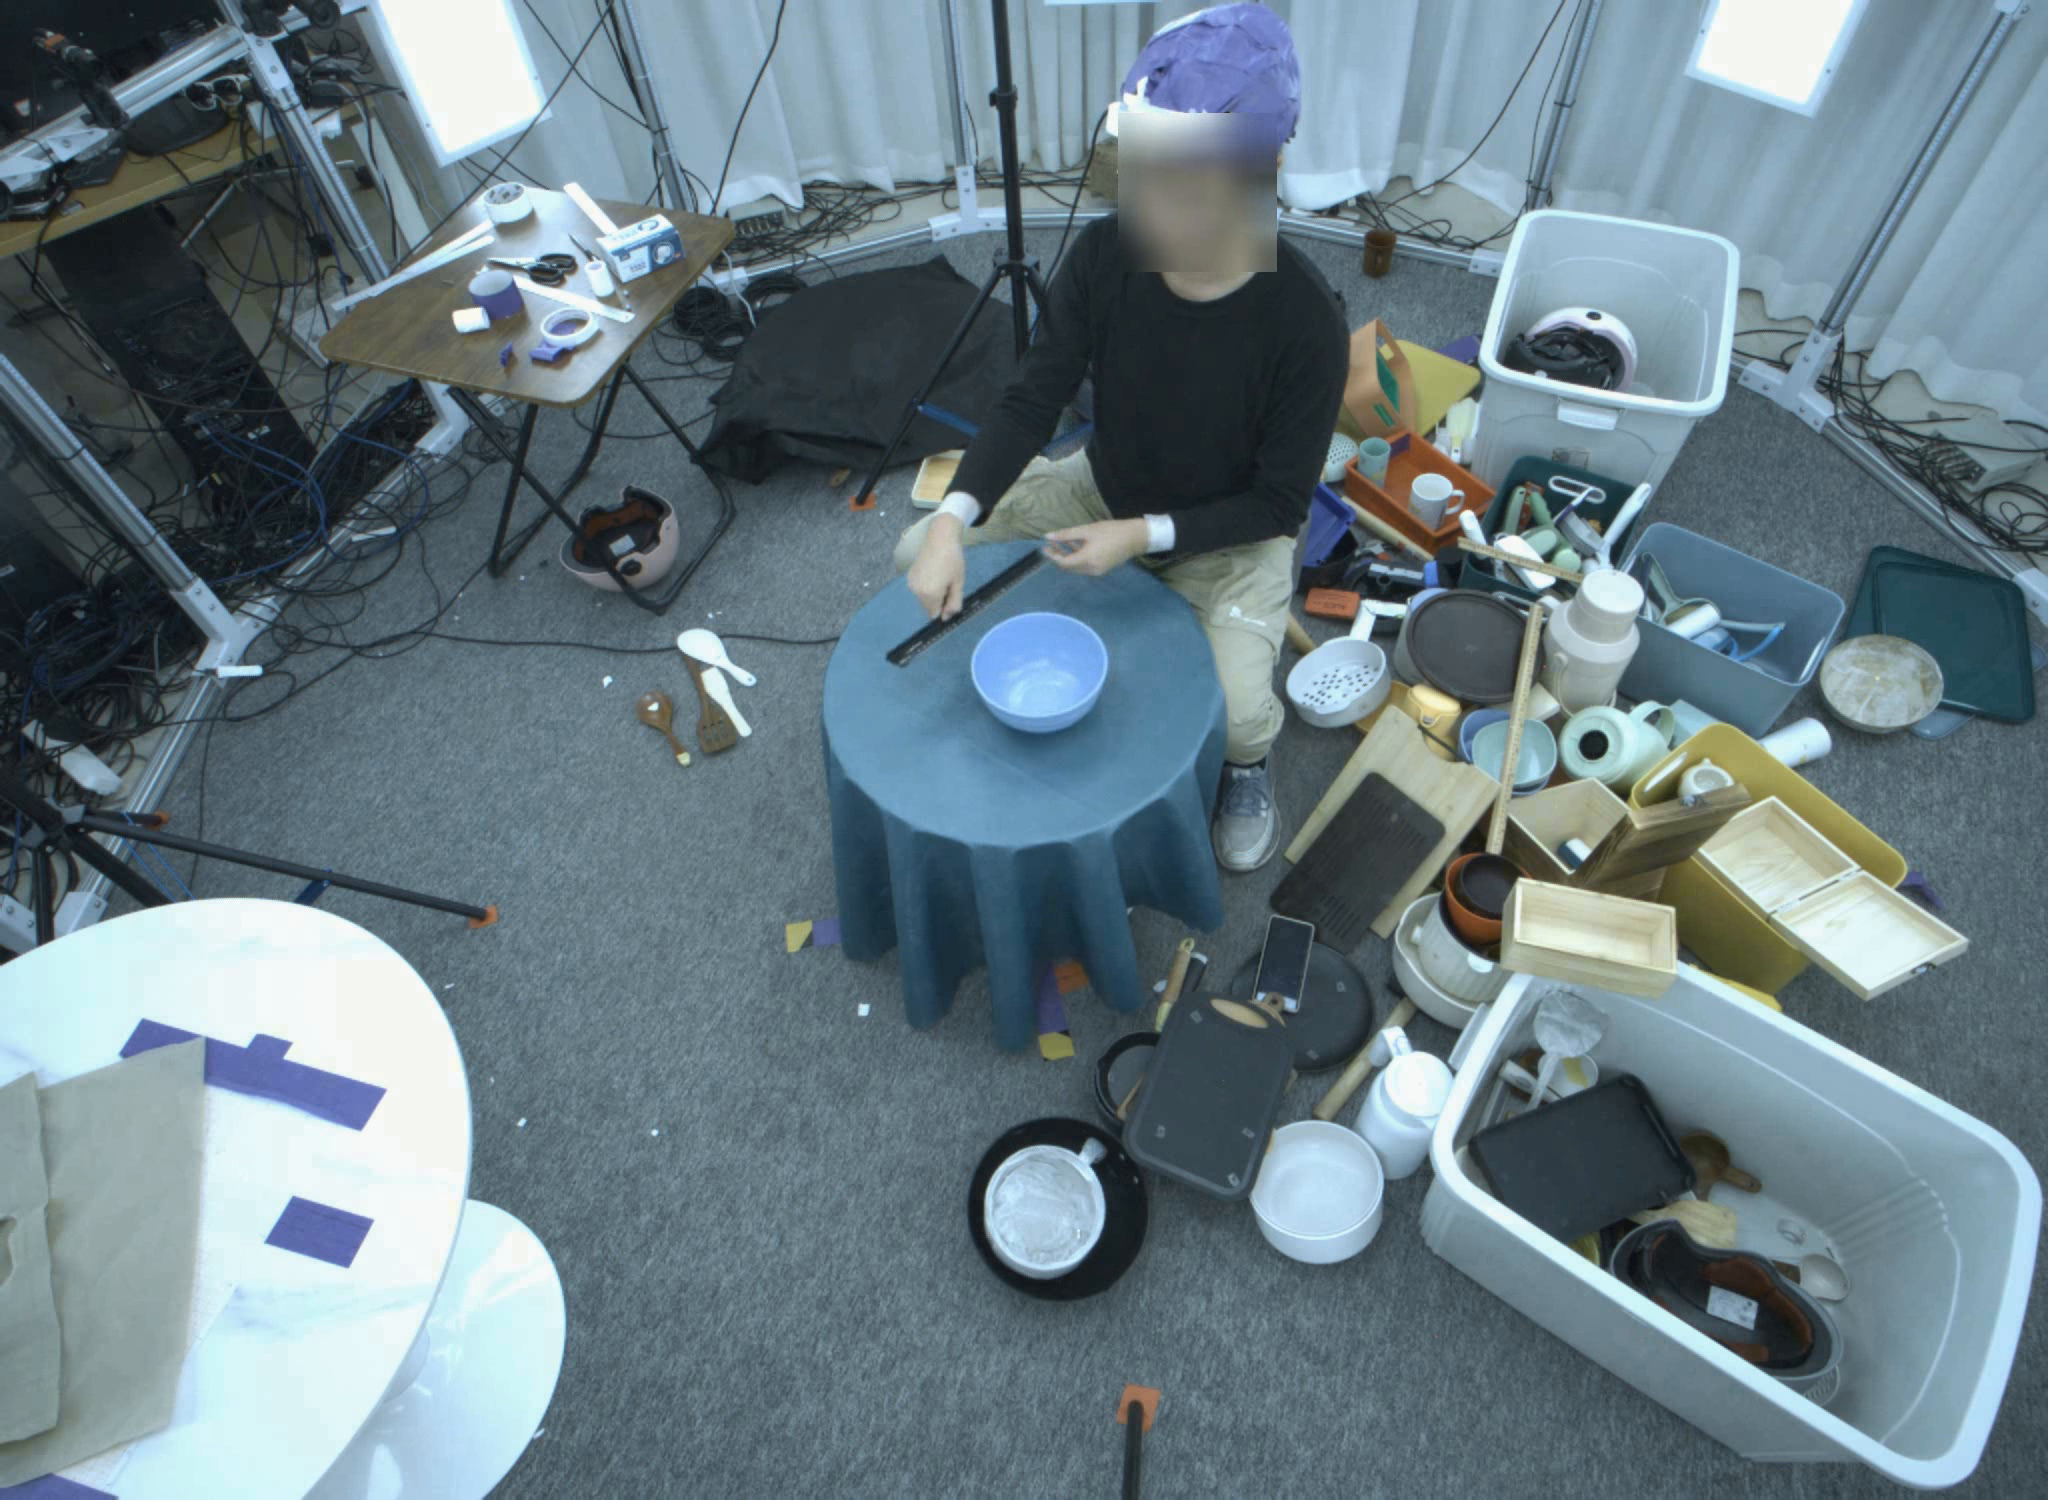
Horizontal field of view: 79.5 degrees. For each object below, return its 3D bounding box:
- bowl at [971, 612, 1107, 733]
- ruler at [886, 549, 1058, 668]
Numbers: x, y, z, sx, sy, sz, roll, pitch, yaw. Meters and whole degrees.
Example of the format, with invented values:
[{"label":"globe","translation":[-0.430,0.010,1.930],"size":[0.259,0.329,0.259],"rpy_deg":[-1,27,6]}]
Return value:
[{"label":"bowl","translation":[0.024,-0.098,1.797],"size":[0.196,0.096,0.194],"rpy_deg":[-1,56,2]},{"label":"ruler","translation":[-0.074,-0.211,1.791],"size":[0.315,0.017,0.038],"rpy_deg":[-37,50,-26]}]
